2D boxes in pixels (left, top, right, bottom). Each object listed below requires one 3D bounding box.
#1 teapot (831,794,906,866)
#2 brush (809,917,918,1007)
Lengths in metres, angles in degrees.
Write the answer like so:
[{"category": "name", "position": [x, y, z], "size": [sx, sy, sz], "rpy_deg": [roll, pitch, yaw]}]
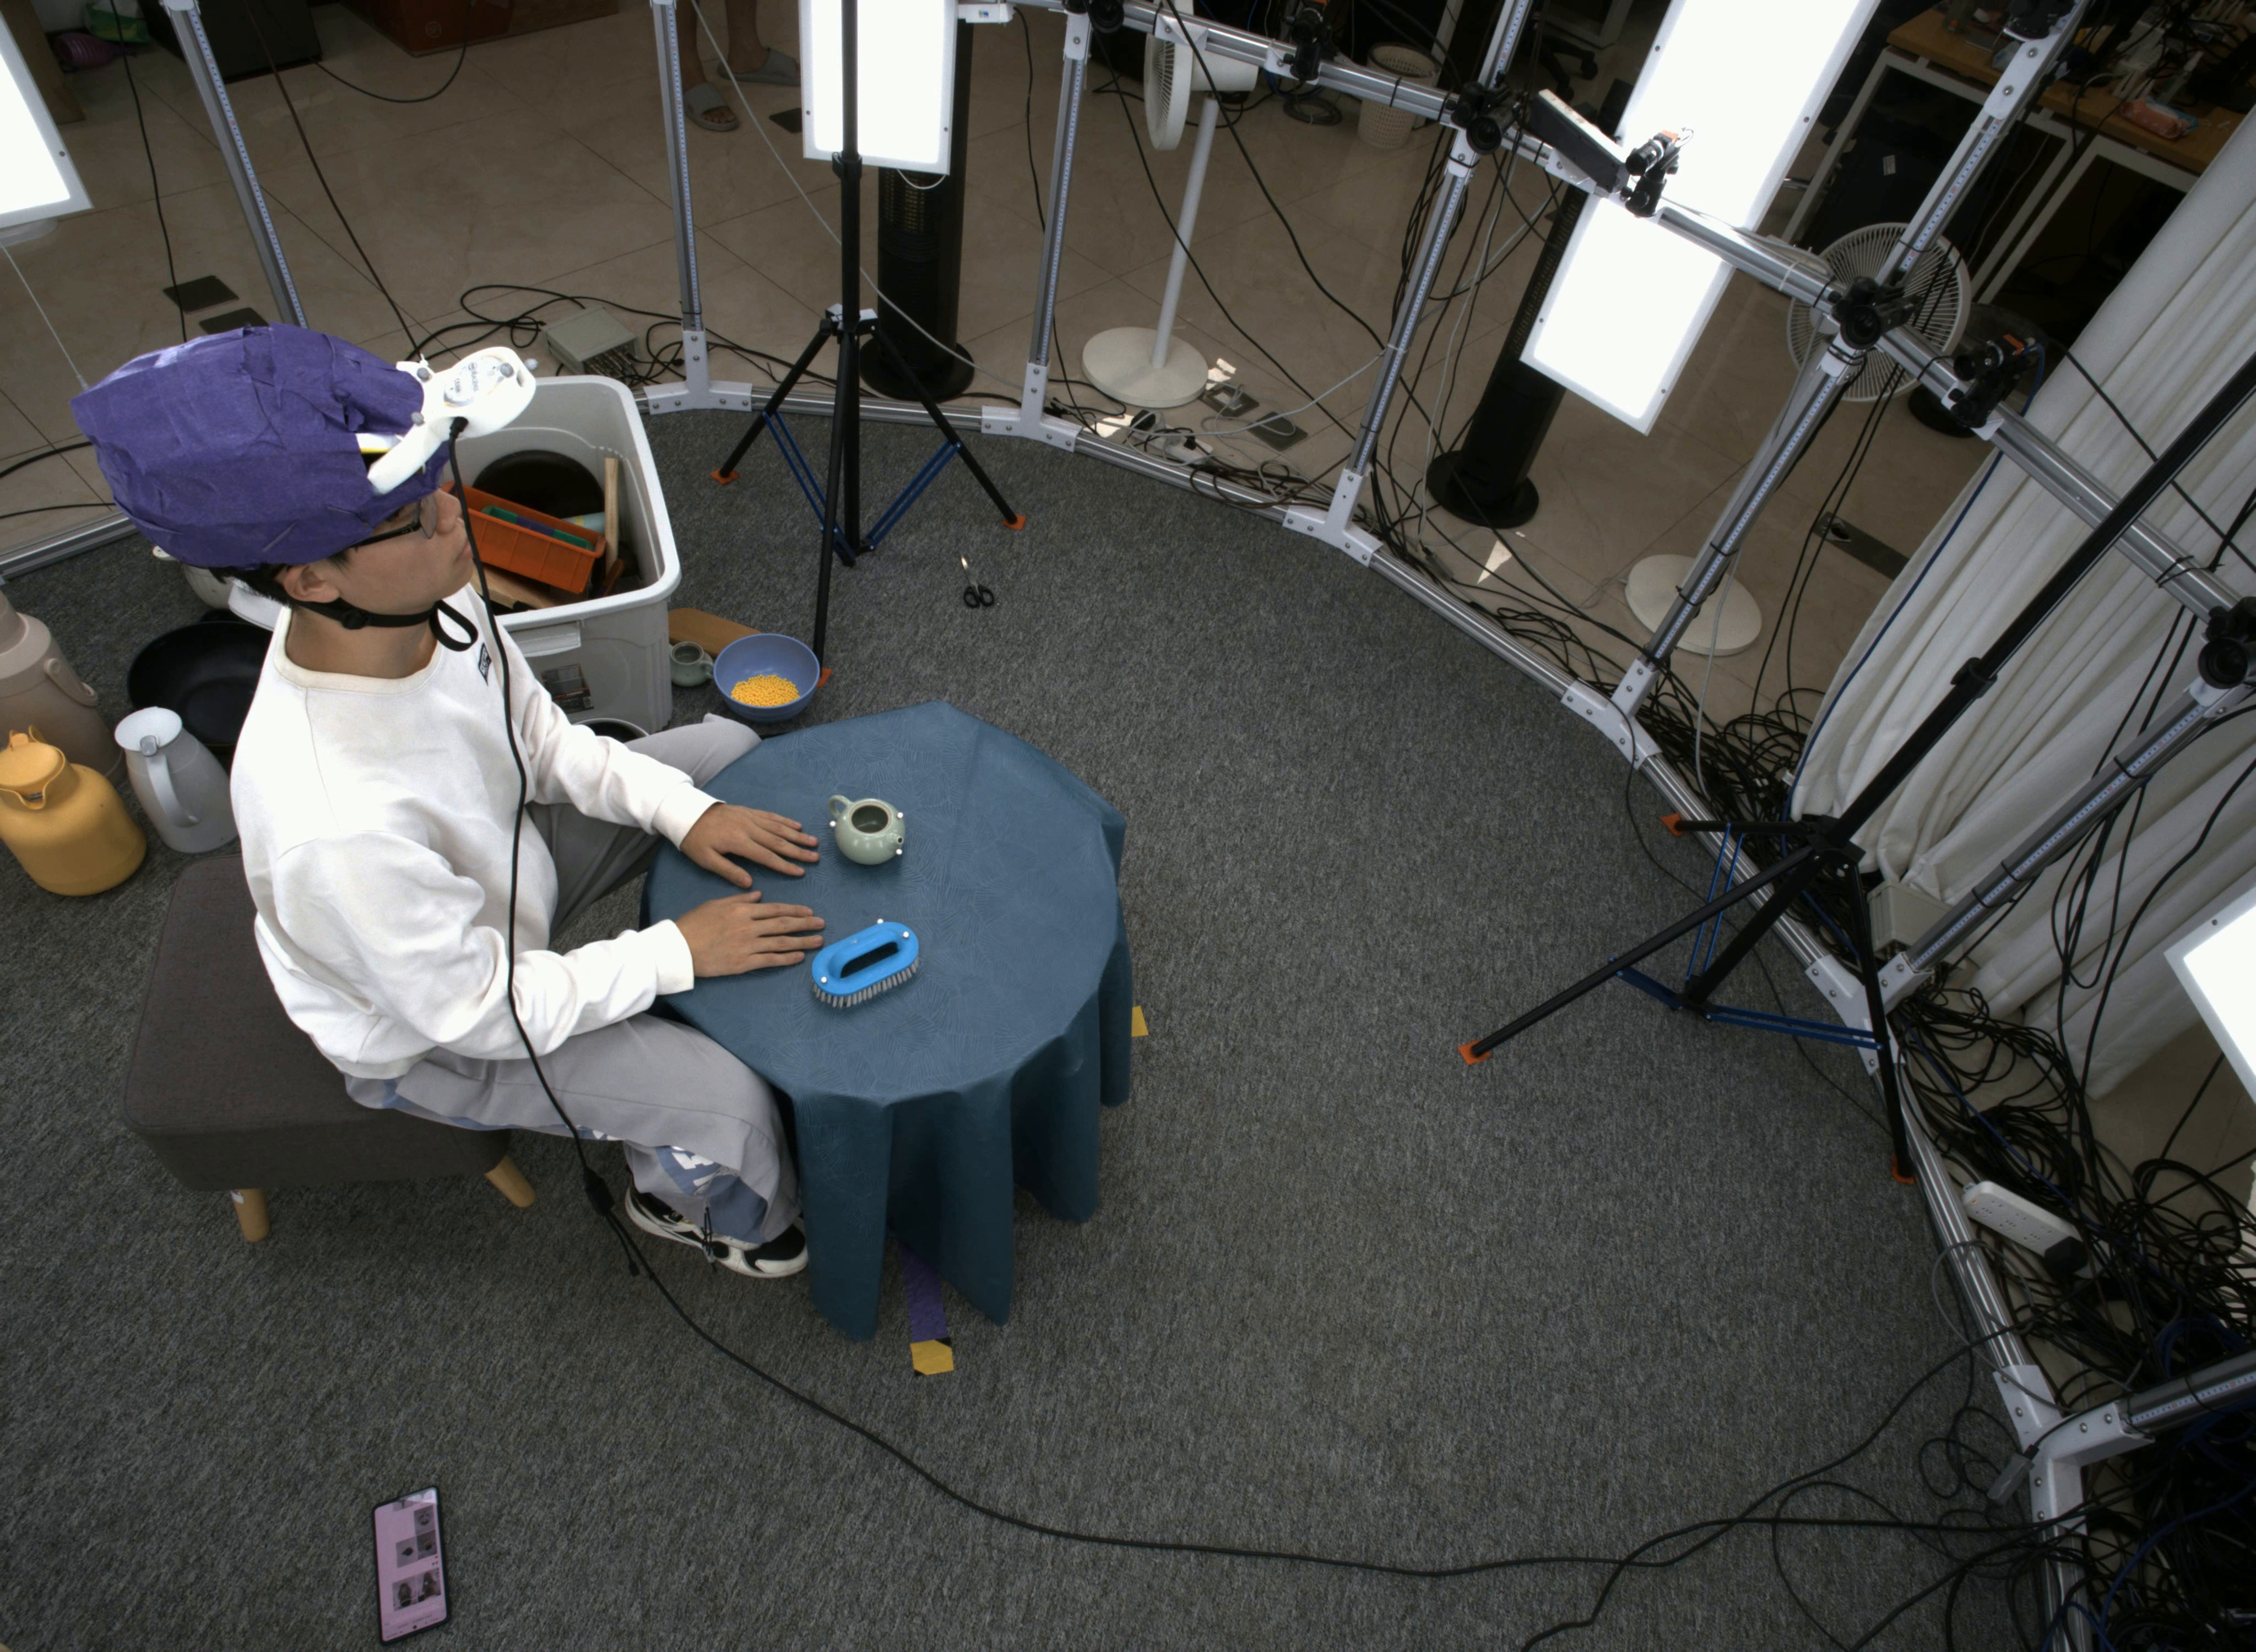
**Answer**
[{"category": "teapot", "position": [-0.346, 0.002, 1.714], "size": [0.125, 0.062, 0.091], "rpy_deg": [37, 57, 17]}, {"category": "brush", "position": [-0.323, 0.160, 1.598], "size": [0.142, 0.065, 0.083], "rpy_deg": [-24, 67, -27]}]
